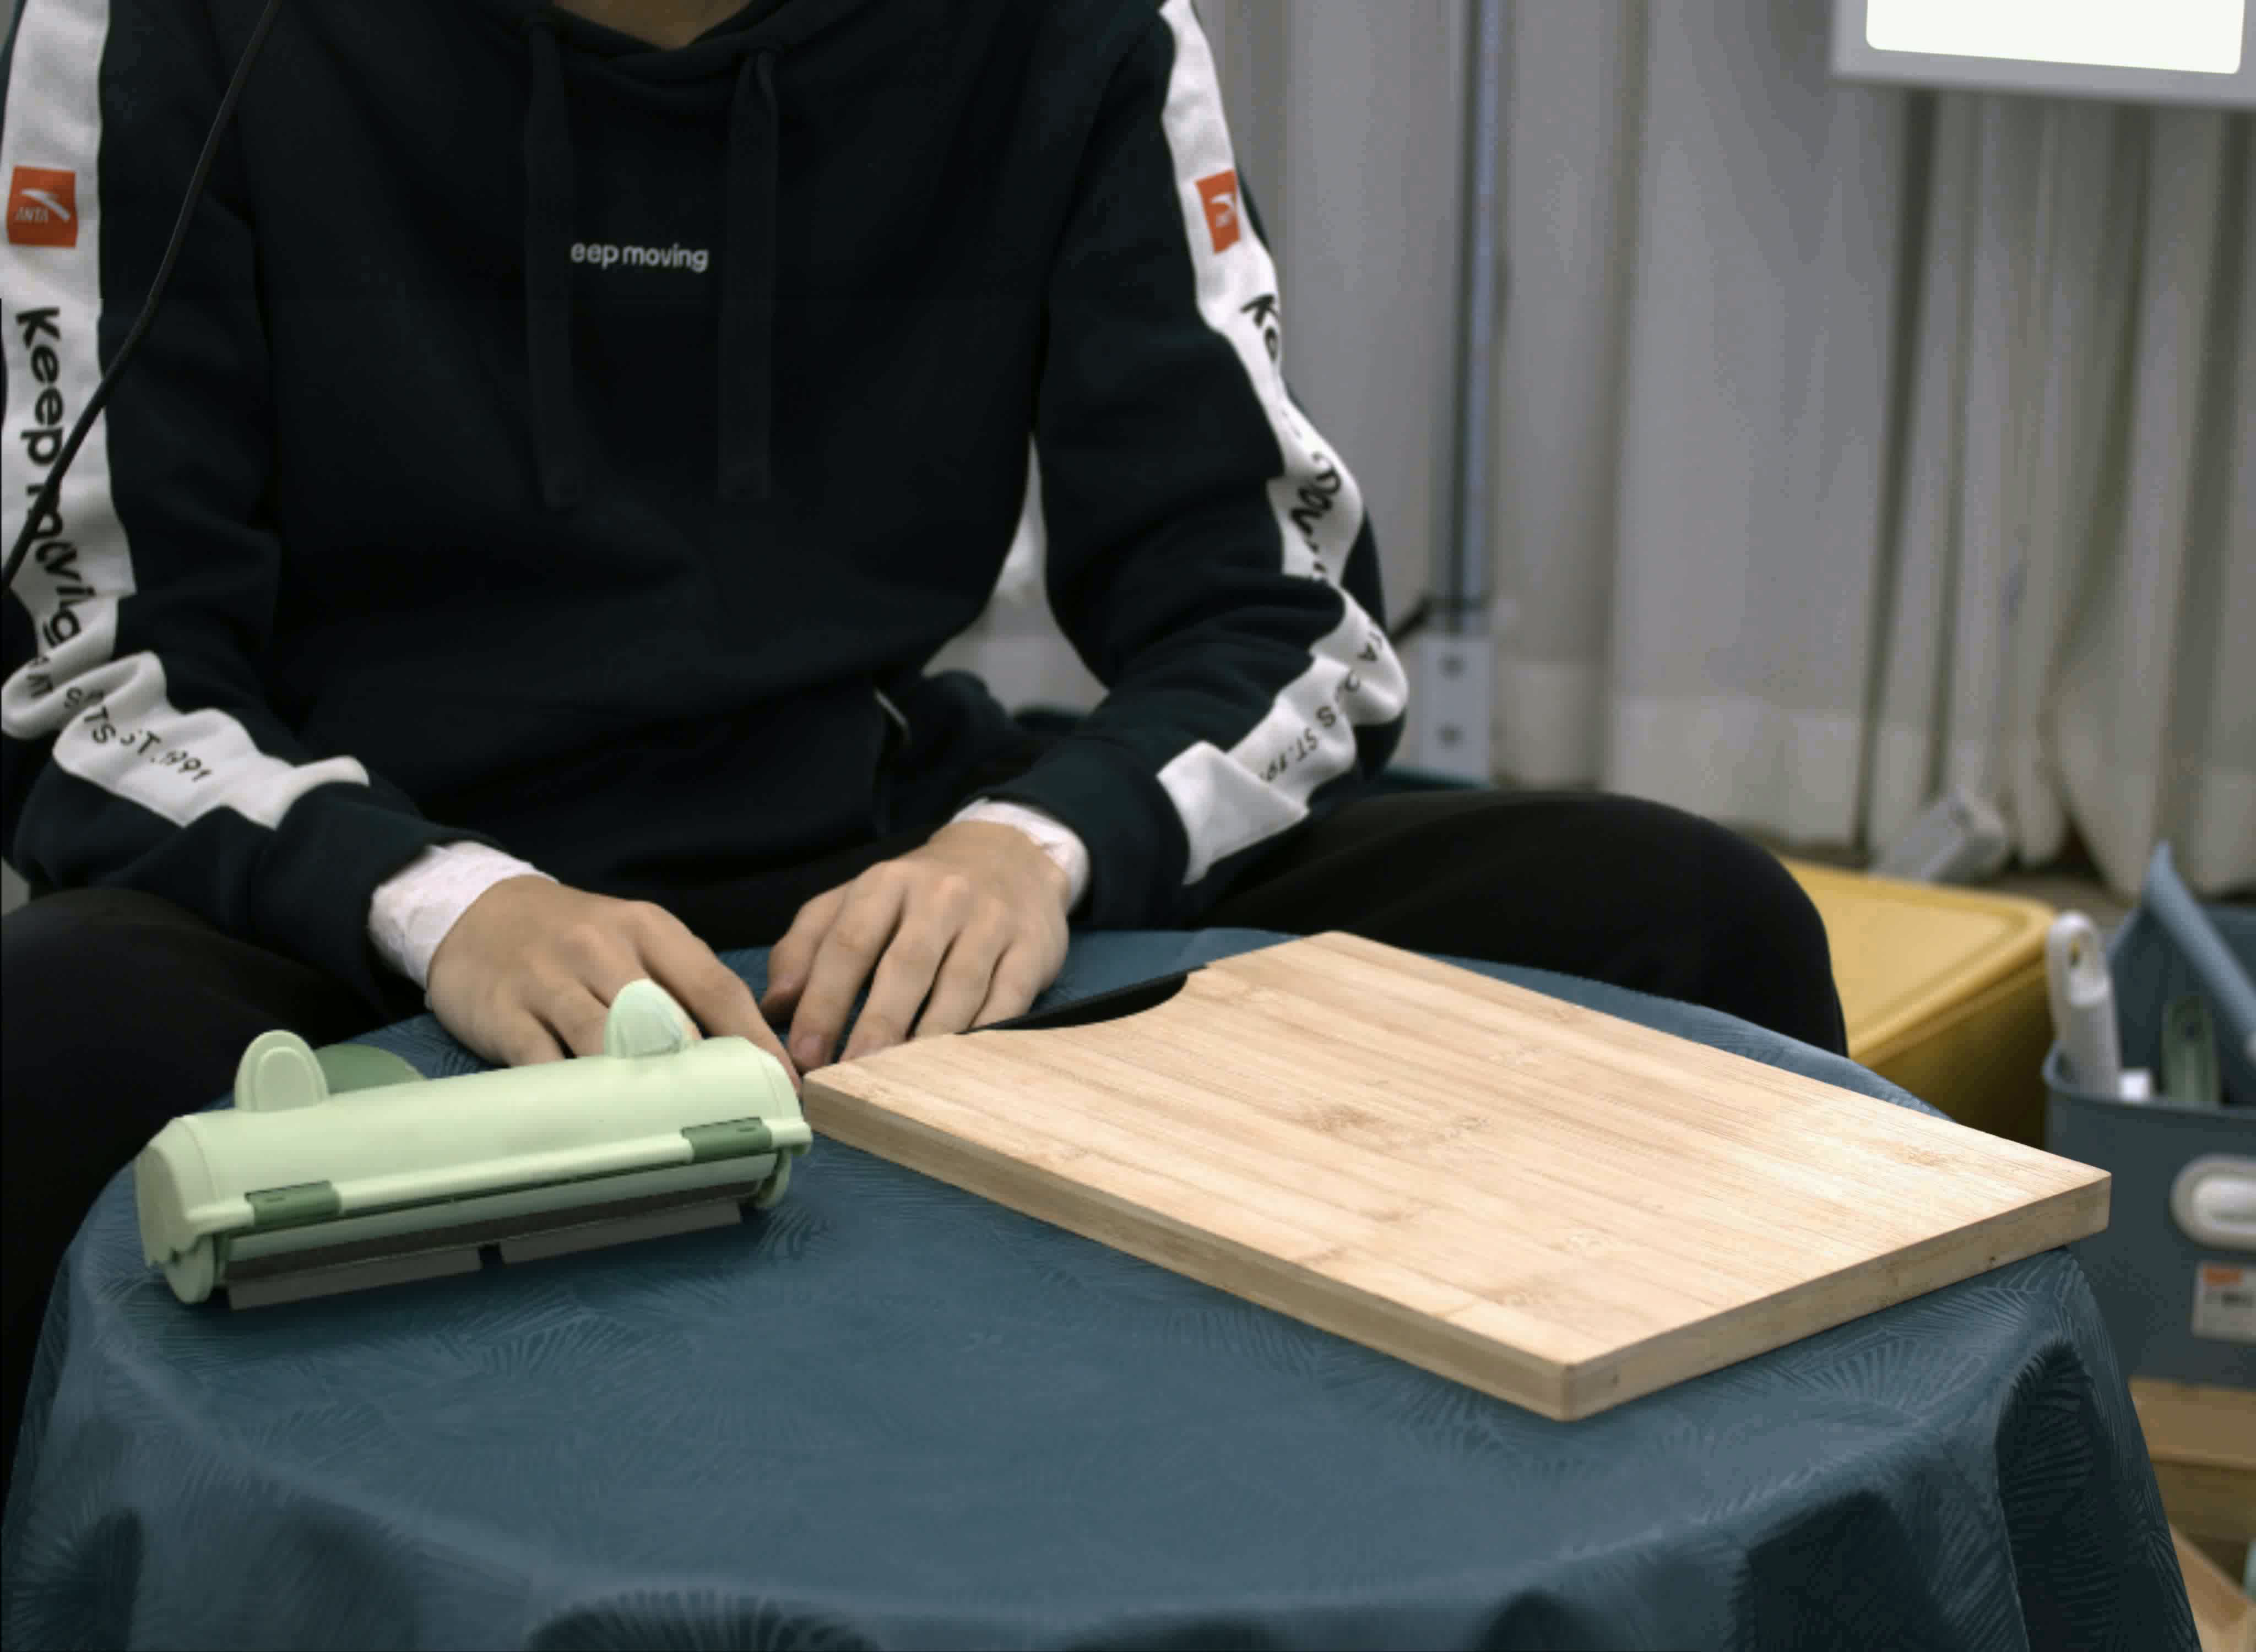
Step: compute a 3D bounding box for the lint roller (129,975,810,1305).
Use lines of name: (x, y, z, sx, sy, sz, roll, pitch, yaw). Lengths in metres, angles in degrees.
lint roller: (-0.219, 0.077, 1.596, 0.199, 0.083, 0.181, -8, 22, -27)

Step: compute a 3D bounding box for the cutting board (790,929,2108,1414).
cutting board: (0.094, 0.100, 1.637, 0.252, 0.024, 0.344, -13, 21, -41)
